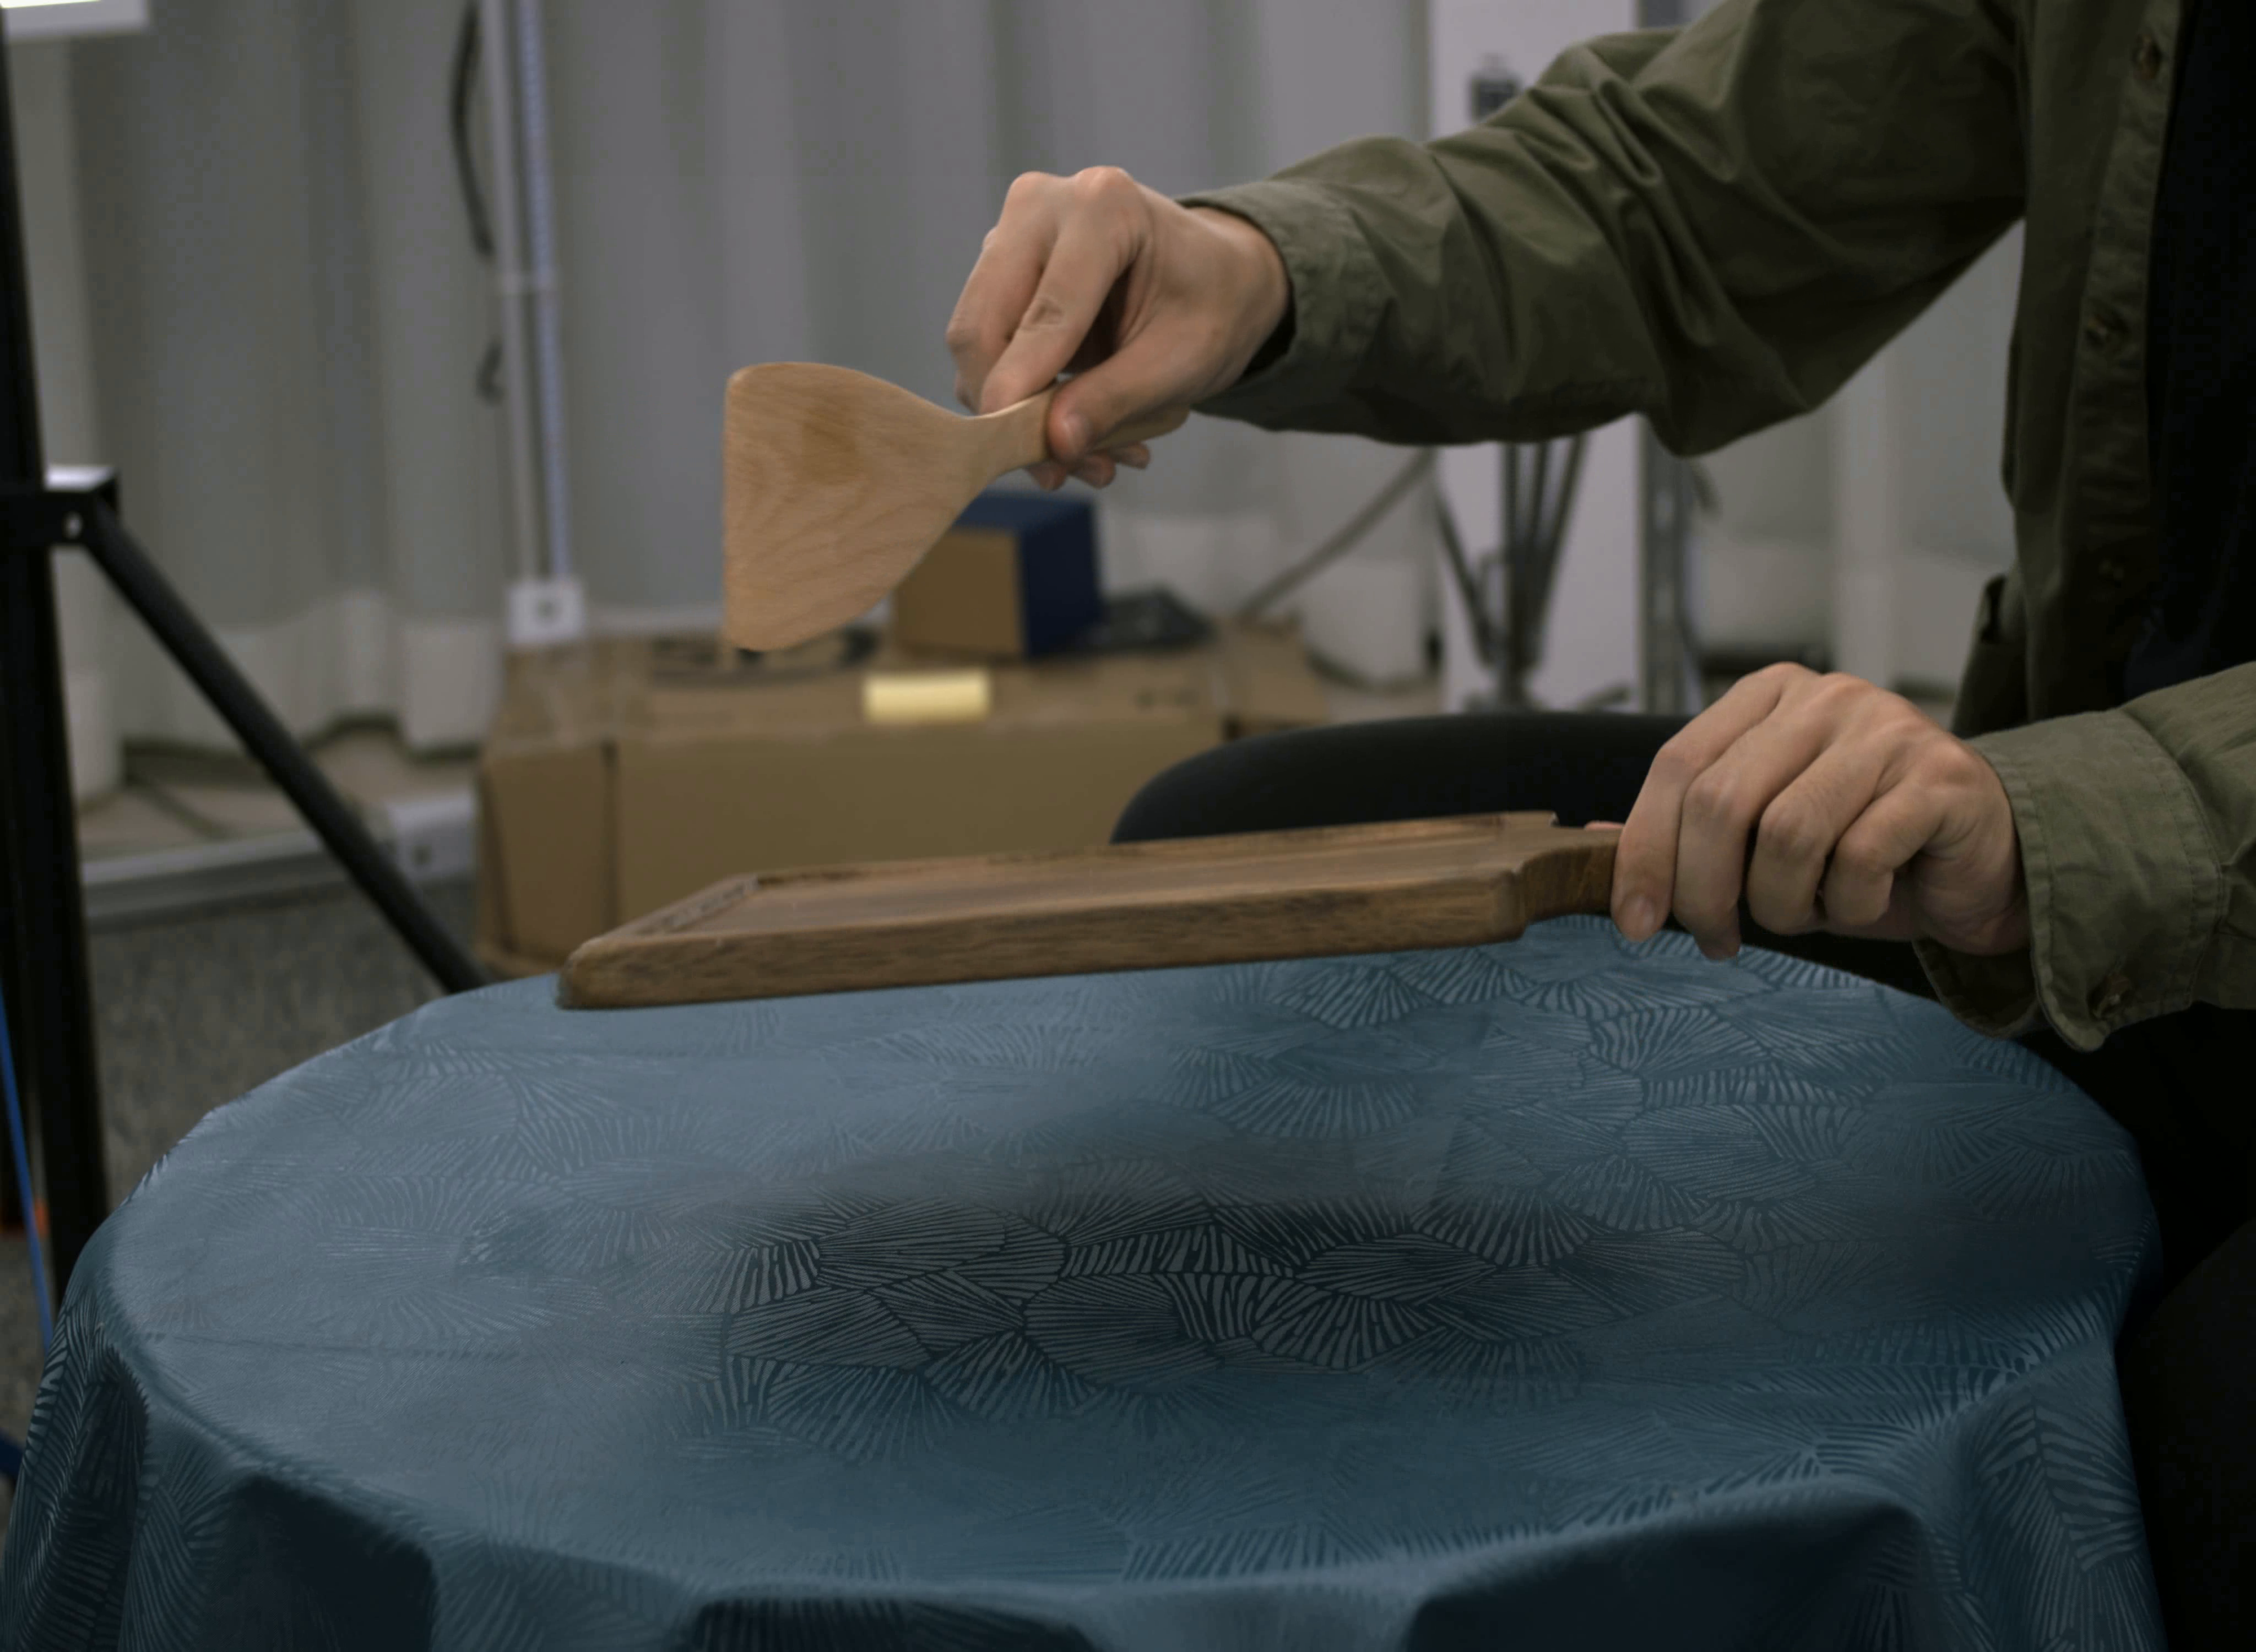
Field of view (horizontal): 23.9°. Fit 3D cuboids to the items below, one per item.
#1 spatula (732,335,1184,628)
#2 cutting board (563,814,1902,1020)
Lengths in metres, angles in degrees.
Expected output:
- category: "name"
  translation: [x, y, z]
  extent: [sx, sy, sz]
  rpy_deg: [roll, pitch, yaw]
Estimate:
- category: "spatula"
  translation: [-0.046, -0.120, 1.612]
  extent: [0.017, 0.080, 0.323]
  rpy_deg: [-2, 9, 22]
- category: "cutting board"
  translation: [0.035, 0.021, 1.457]
  extent: [0.353, 0.023, 0.199]
  rpy_deg: [-4, 4, 11]
